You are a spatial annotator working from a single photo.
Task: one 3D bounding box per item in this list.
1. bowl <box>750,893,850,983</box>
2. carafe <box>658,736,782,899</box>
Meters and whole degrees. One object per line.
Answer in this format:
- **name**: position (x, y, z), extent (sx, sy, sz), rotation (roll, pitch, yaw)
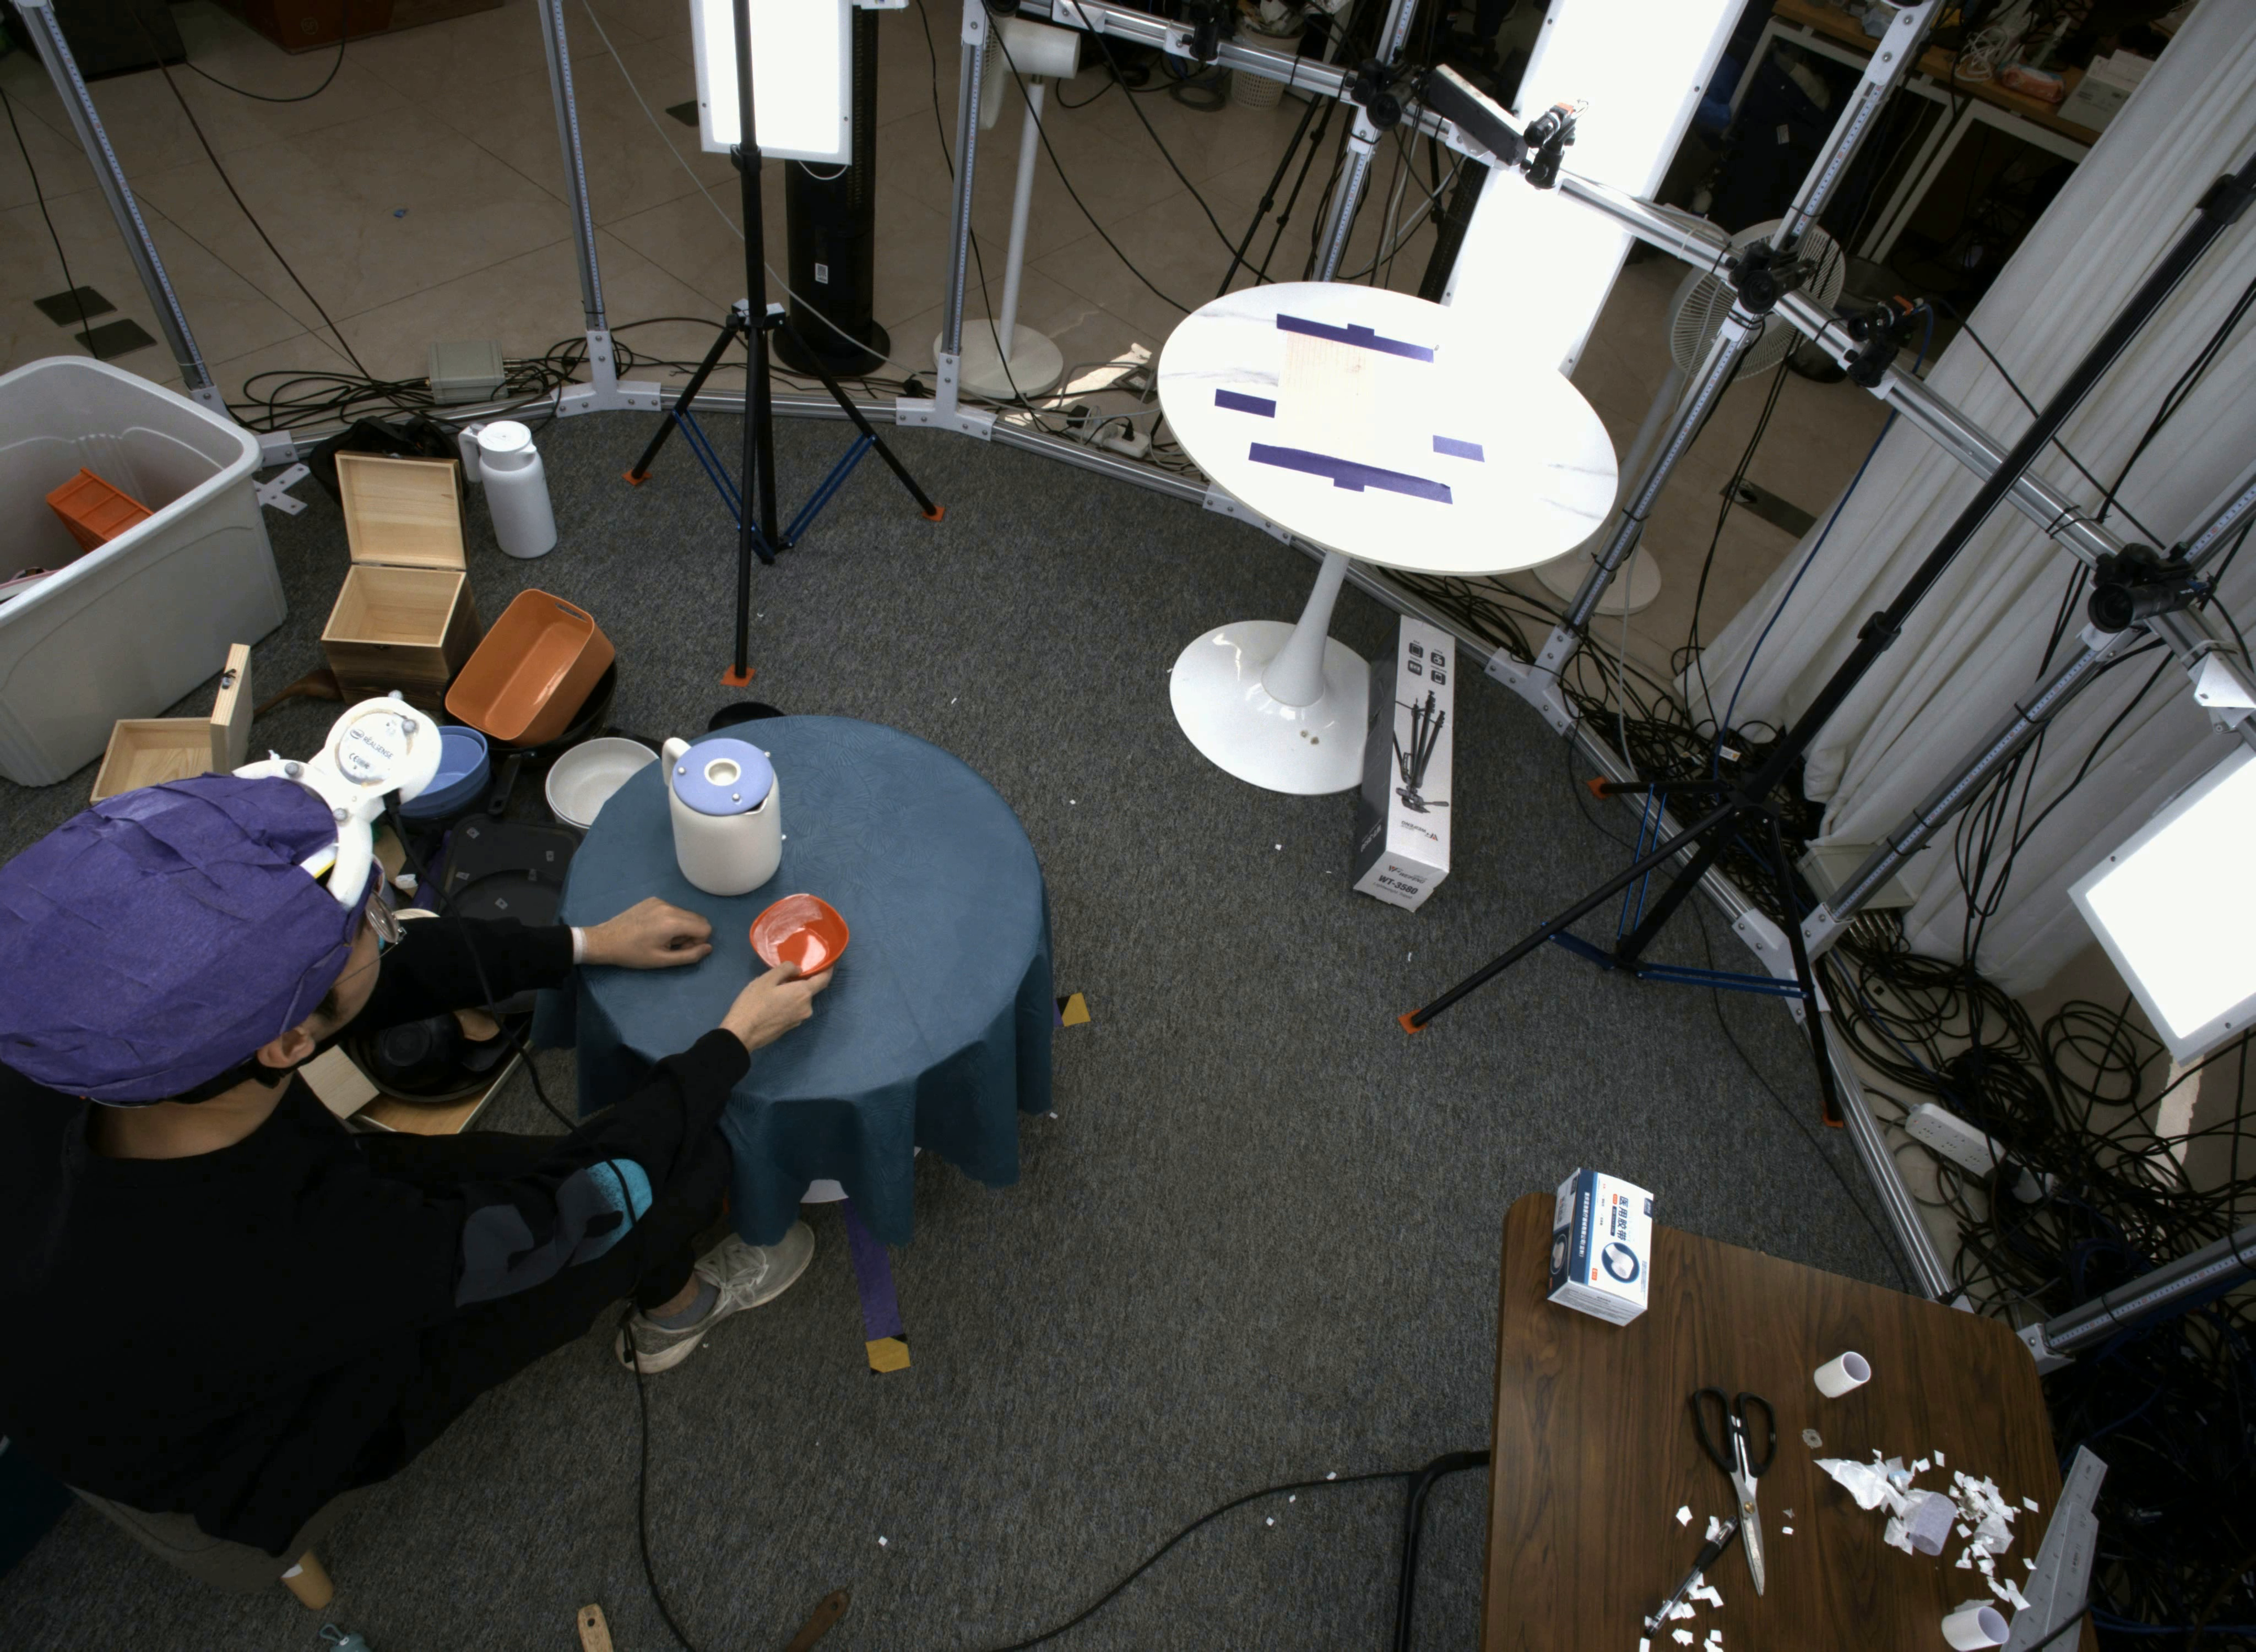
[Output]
- **bowl**: position (-0.403, 0.144, 1.594), extent (0.119, 0.052, 0.117), rotation (9, 52, -10)
- **carafe**: position (-0.520, -0.025, 1.613), extent (0.187, 0.187, 0.132), rotation (35, 52, 17)
